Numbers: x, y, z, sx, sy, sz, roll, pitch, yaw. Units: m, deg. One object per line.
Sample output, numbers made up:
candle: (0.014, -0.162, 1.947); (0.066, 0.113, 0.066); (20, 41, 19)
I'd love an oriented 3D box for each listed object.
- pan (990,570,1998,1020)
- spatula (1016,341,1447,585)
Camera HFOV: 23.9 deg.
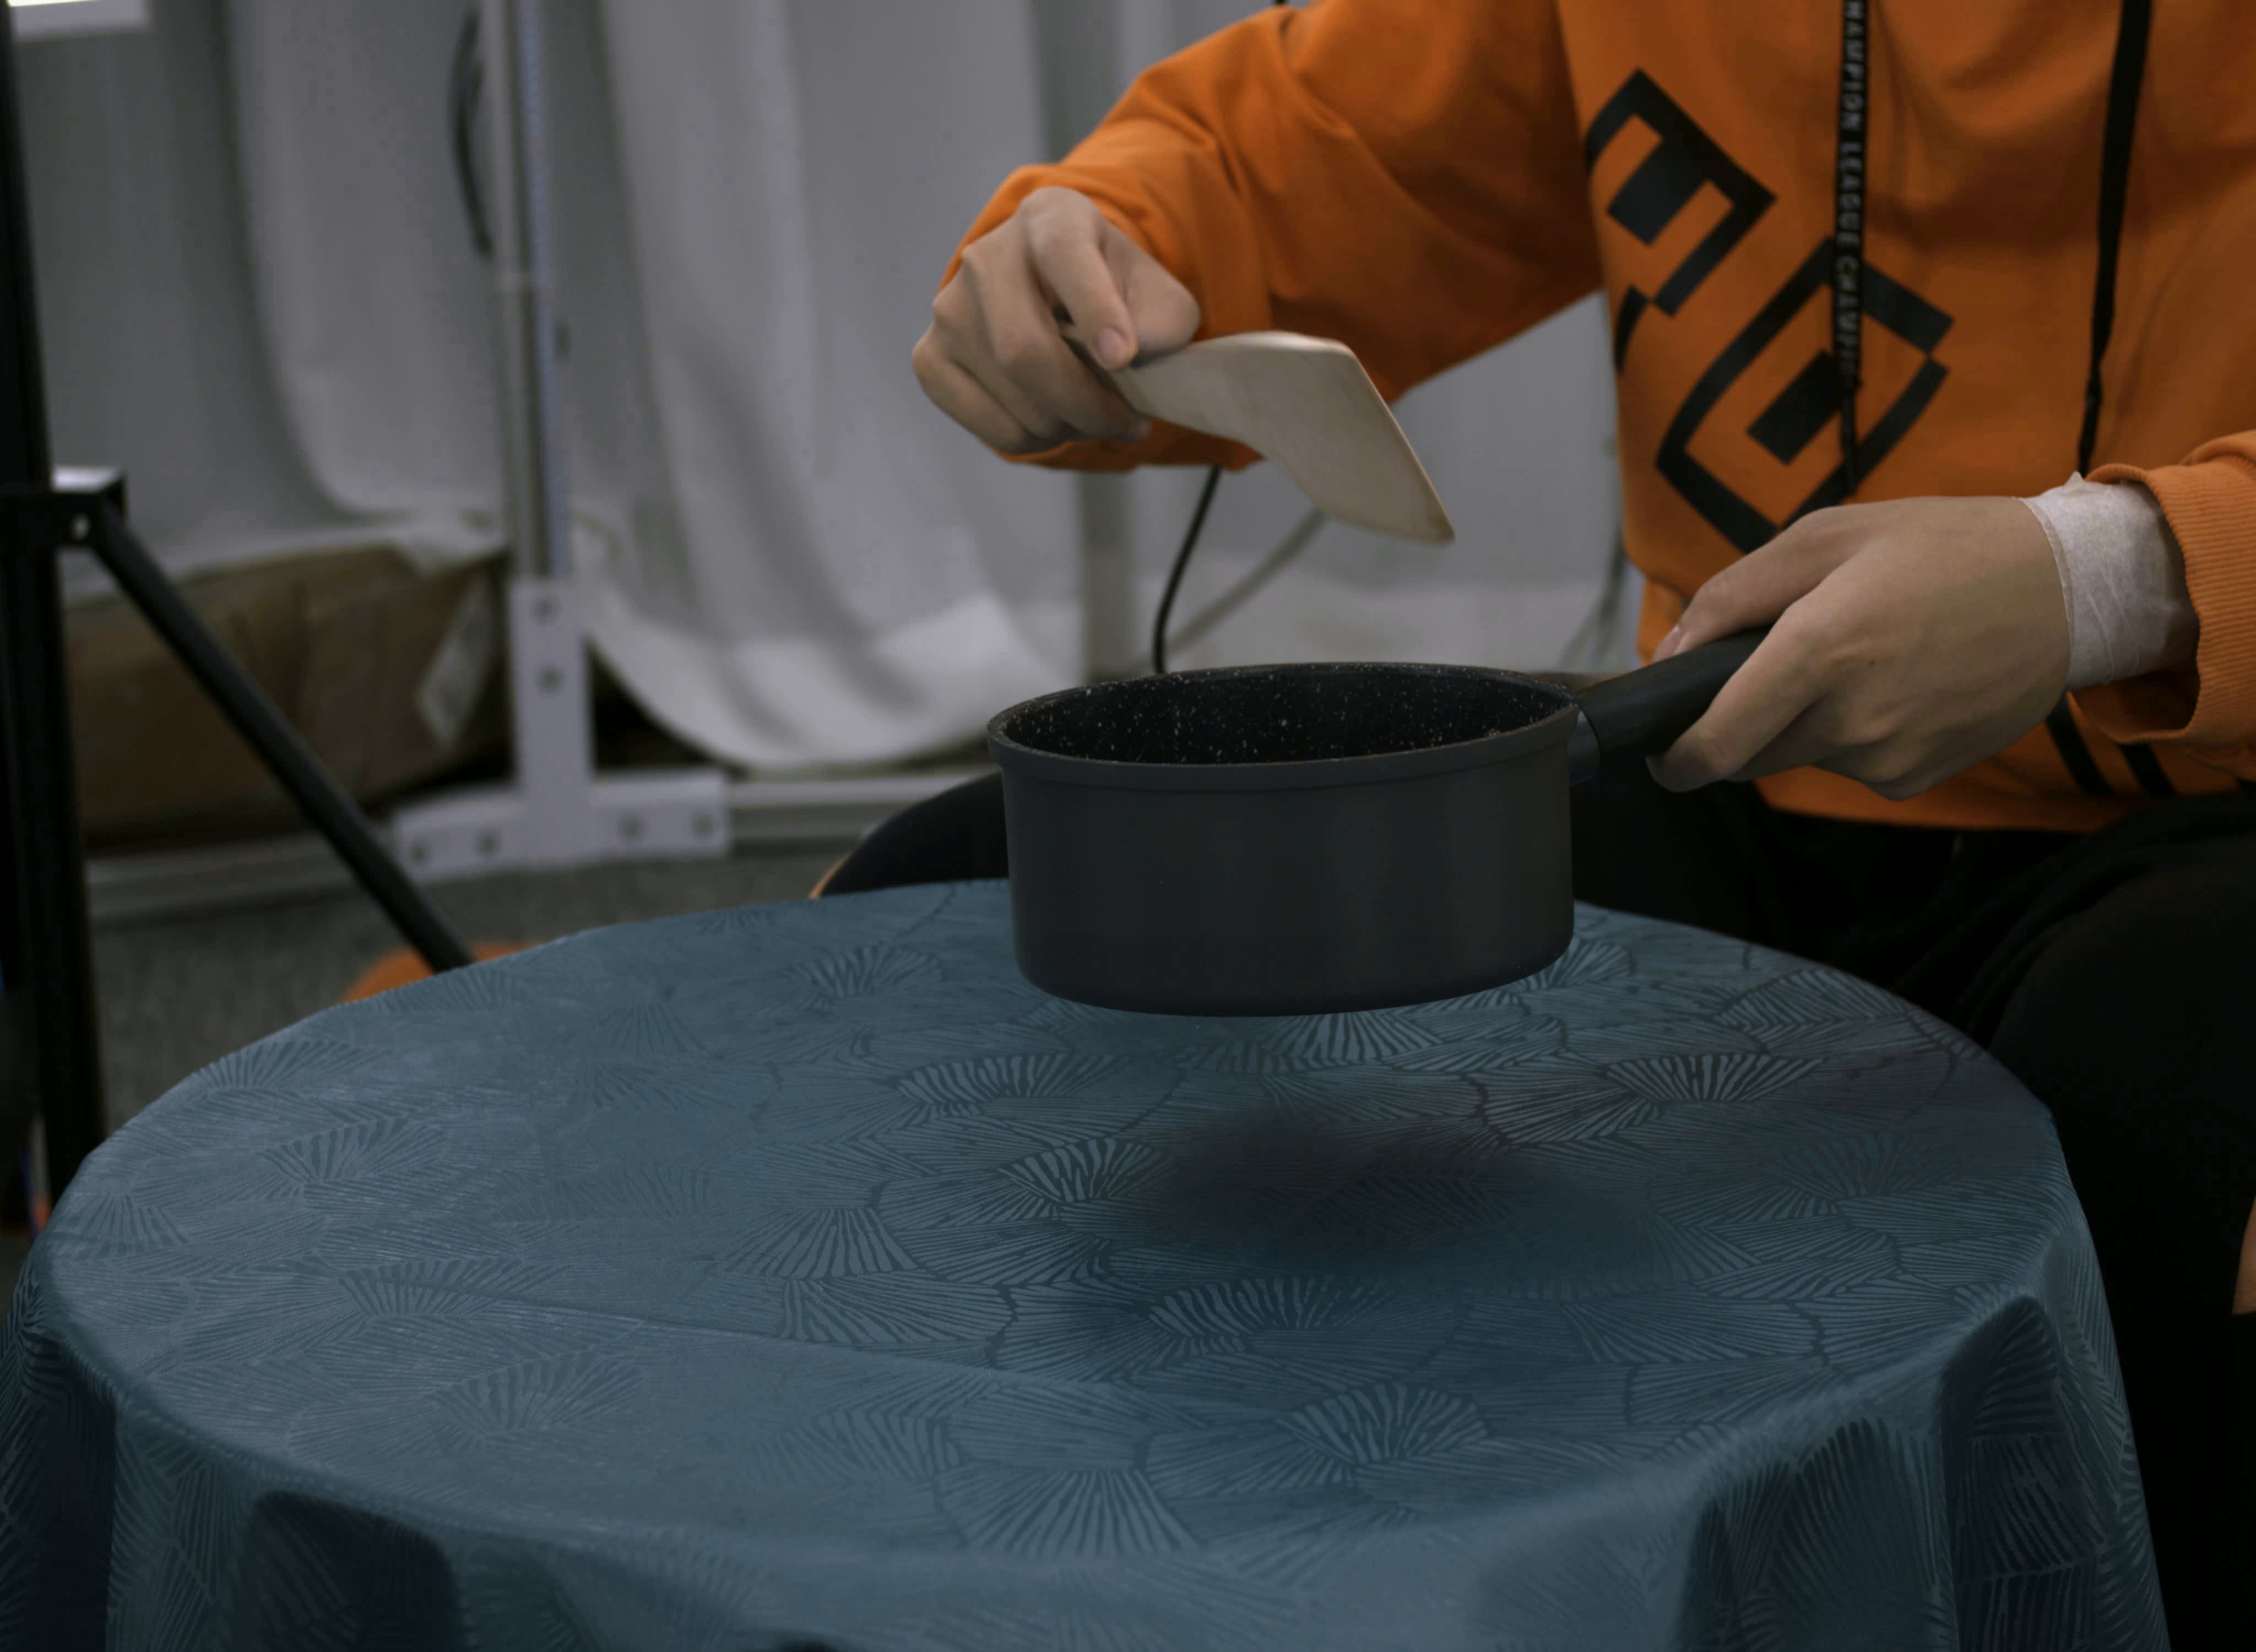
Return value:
pan: (0.117, -0.011, 1.568); (0.322, 0.086, 0.175); (-10, 13, -24)
spatula: (0.021, -0.125, 1.660); (0.010, 0.071, 0.298); (-35, 21, -12)
